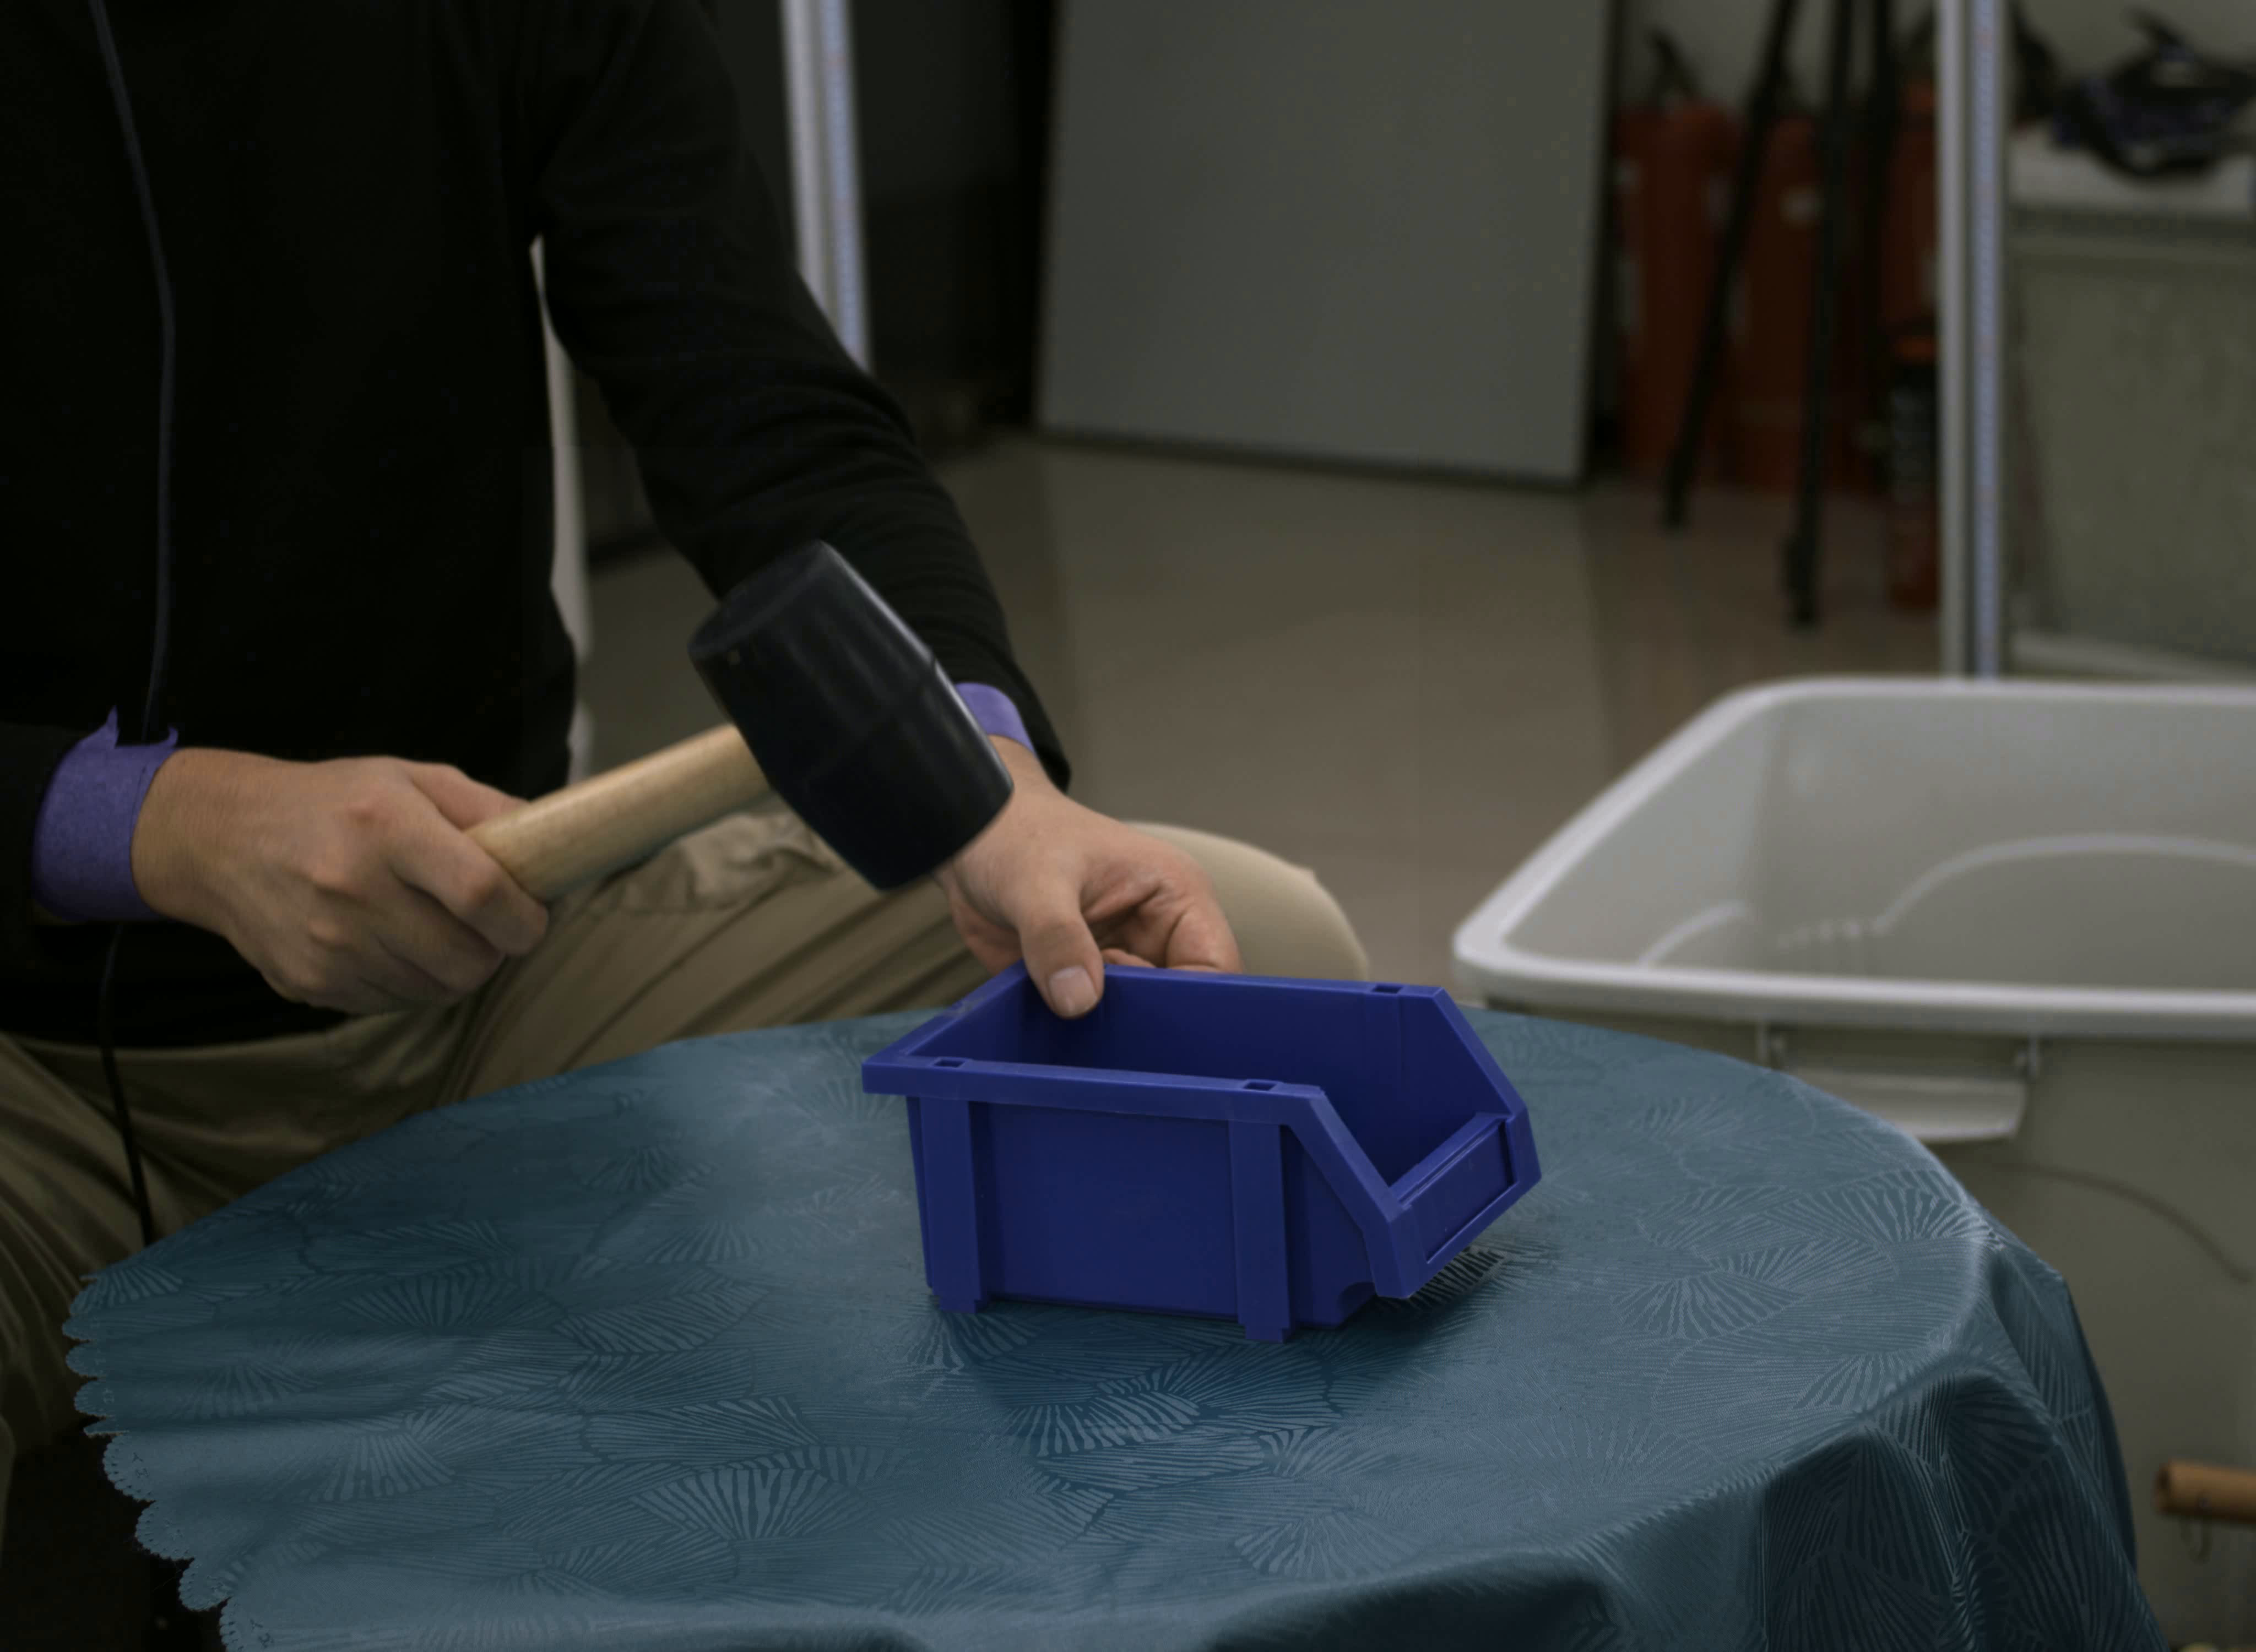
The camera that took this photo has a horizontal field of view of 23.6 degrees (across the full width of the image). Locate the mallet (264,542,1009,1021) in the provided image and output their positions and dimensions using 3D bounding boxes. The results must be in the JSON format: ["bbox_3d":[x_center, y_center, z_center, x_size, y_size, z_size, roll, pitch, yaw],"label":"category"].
[{"bbox_3d":[-0.172,0.001,1.751,0.342,0.102,0.063,-21,18,48],"label":"mallet"}]

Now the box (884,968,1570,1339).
[{"bbox_3d":[0.034,0.099,1.681,0.180,0.083,0.123,-1,14,28],"label":"box"}]
